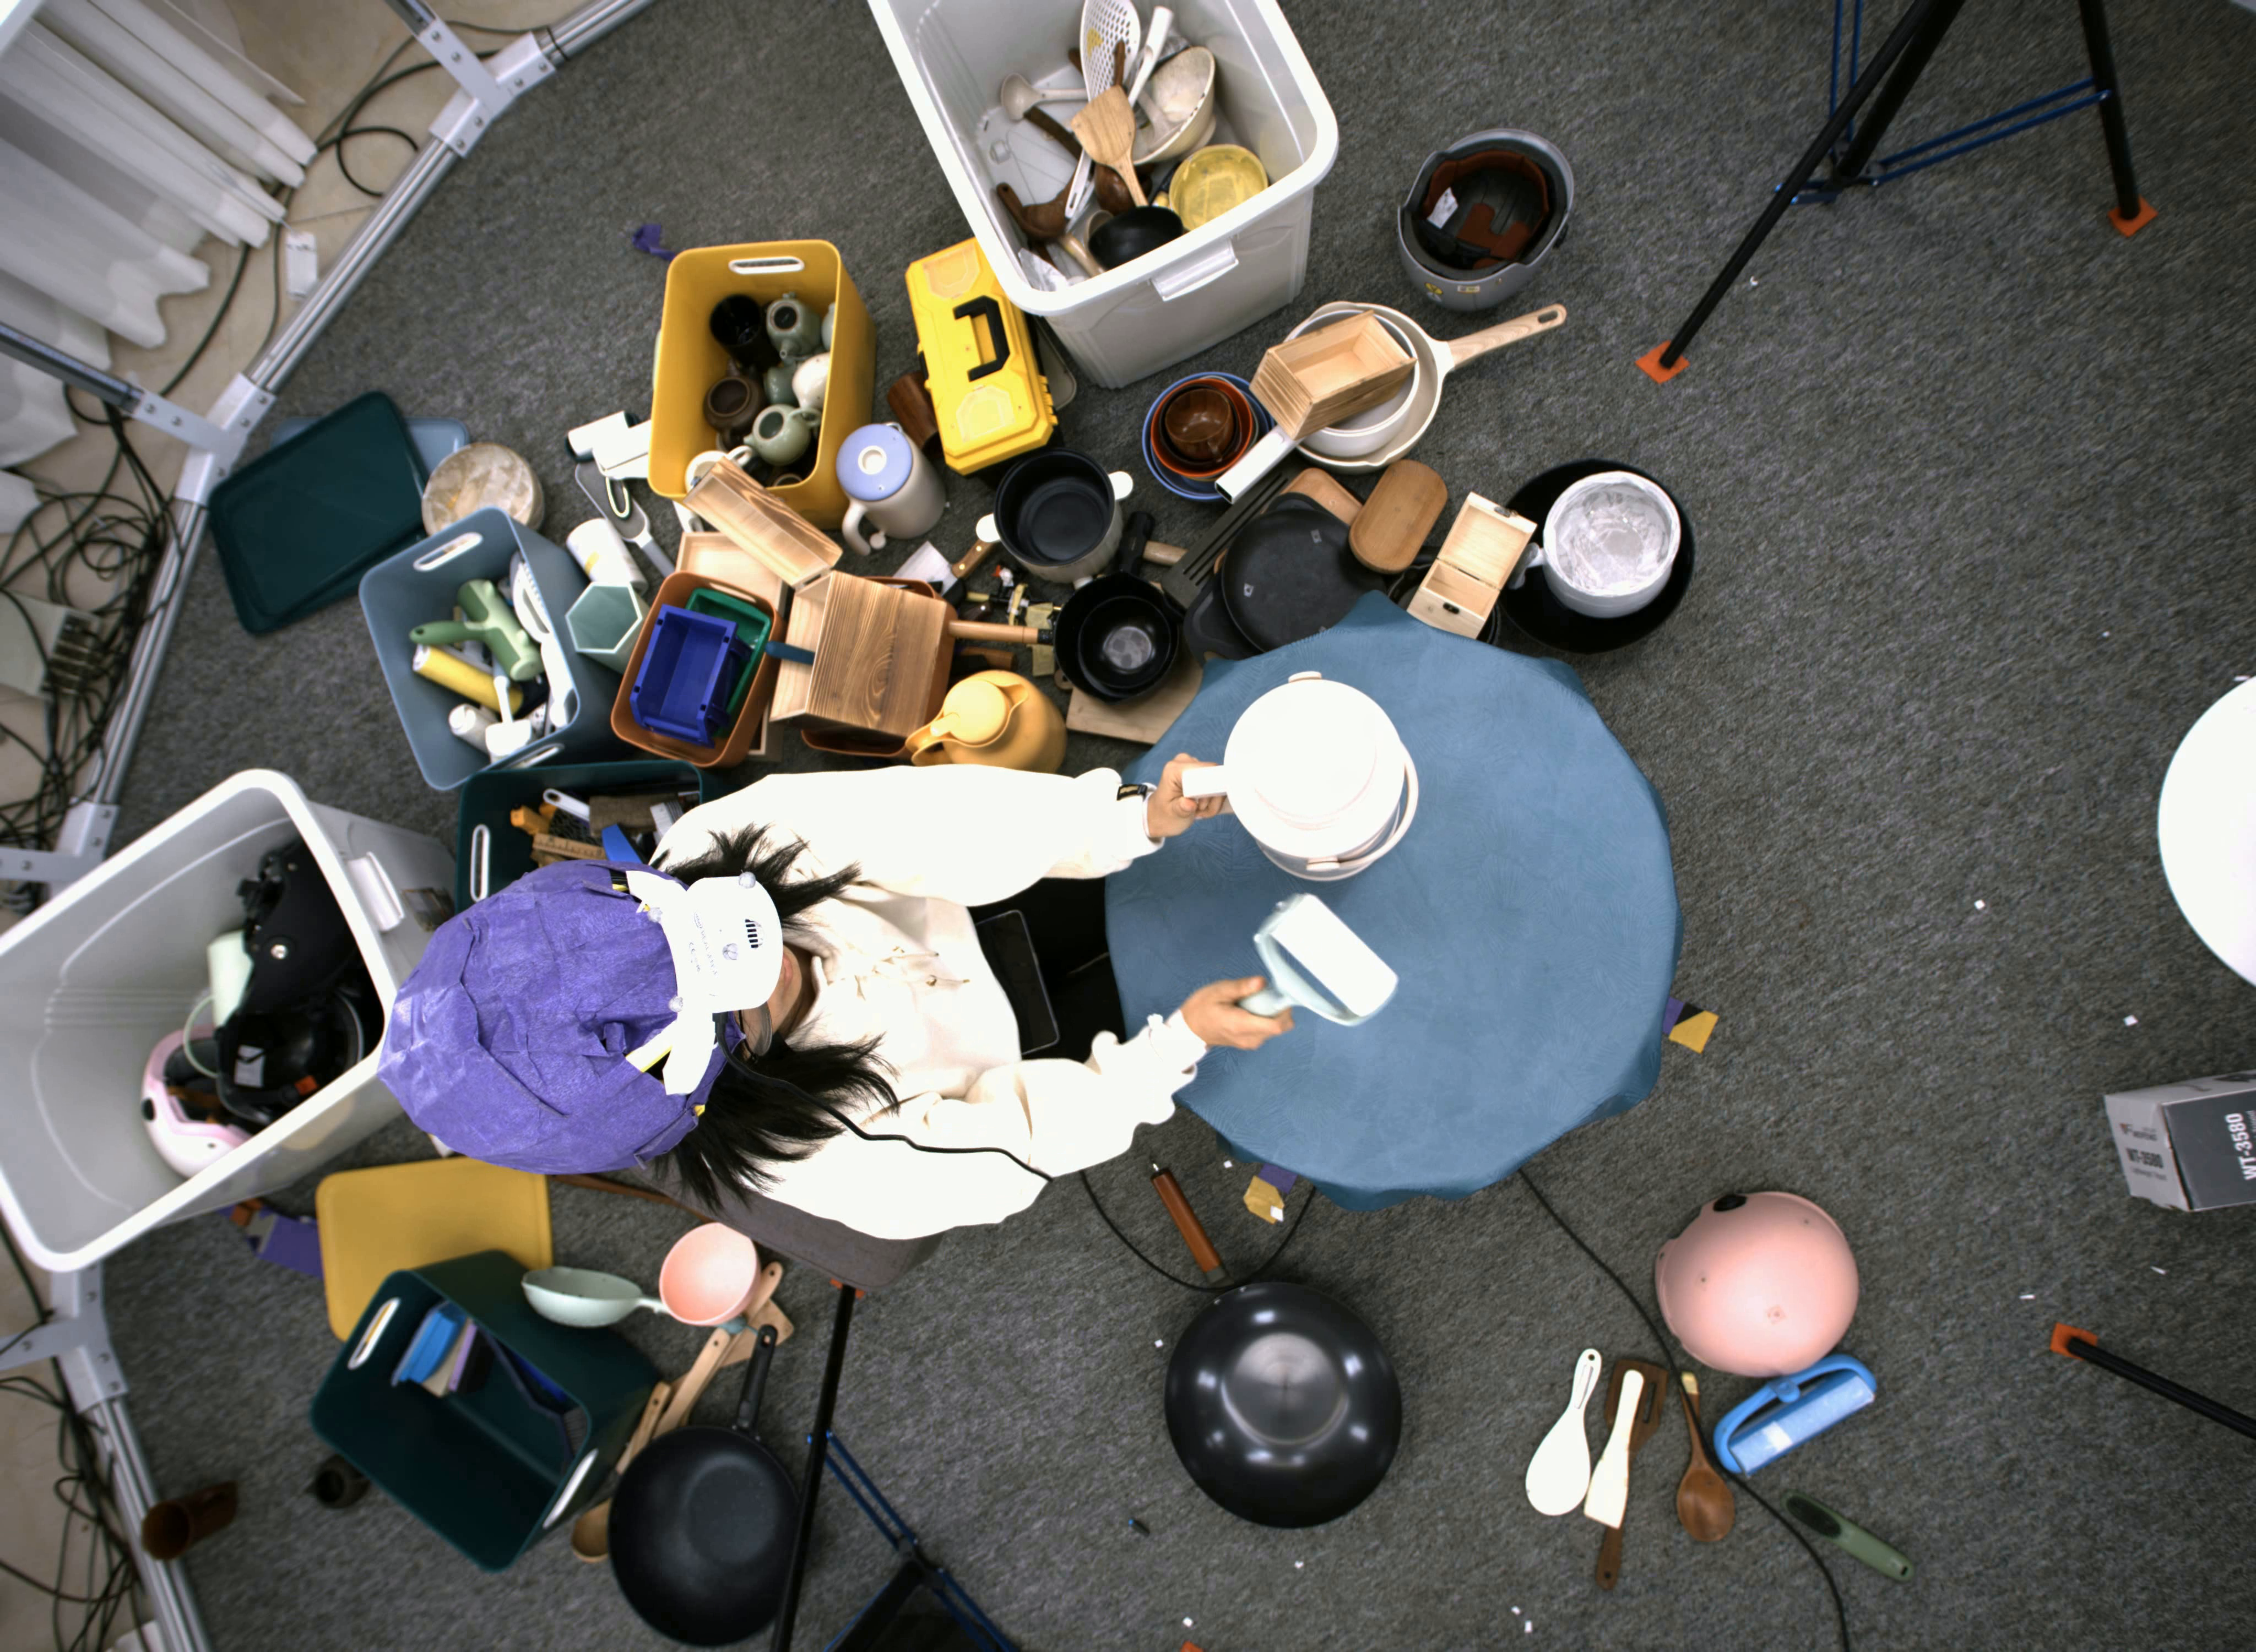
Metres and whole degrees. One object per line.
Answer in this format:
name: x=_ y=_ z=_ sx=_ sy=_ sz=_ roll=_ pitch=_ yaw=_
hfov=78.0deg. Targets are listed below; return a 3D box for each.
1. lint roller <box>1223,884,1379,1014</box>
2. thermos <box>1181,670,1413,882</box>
lint roller: x=0.125 y=0.130 z=1.217 sx=0.117 sy=0.202 sz=0.047 roll=40 pitch=53 yaw=-3
thermos: x=0.162 y=-0.041 z=1.286 sx=0.208 sy=0.406 sz=0.174 roll=-6 pitch=84 yaw=10
